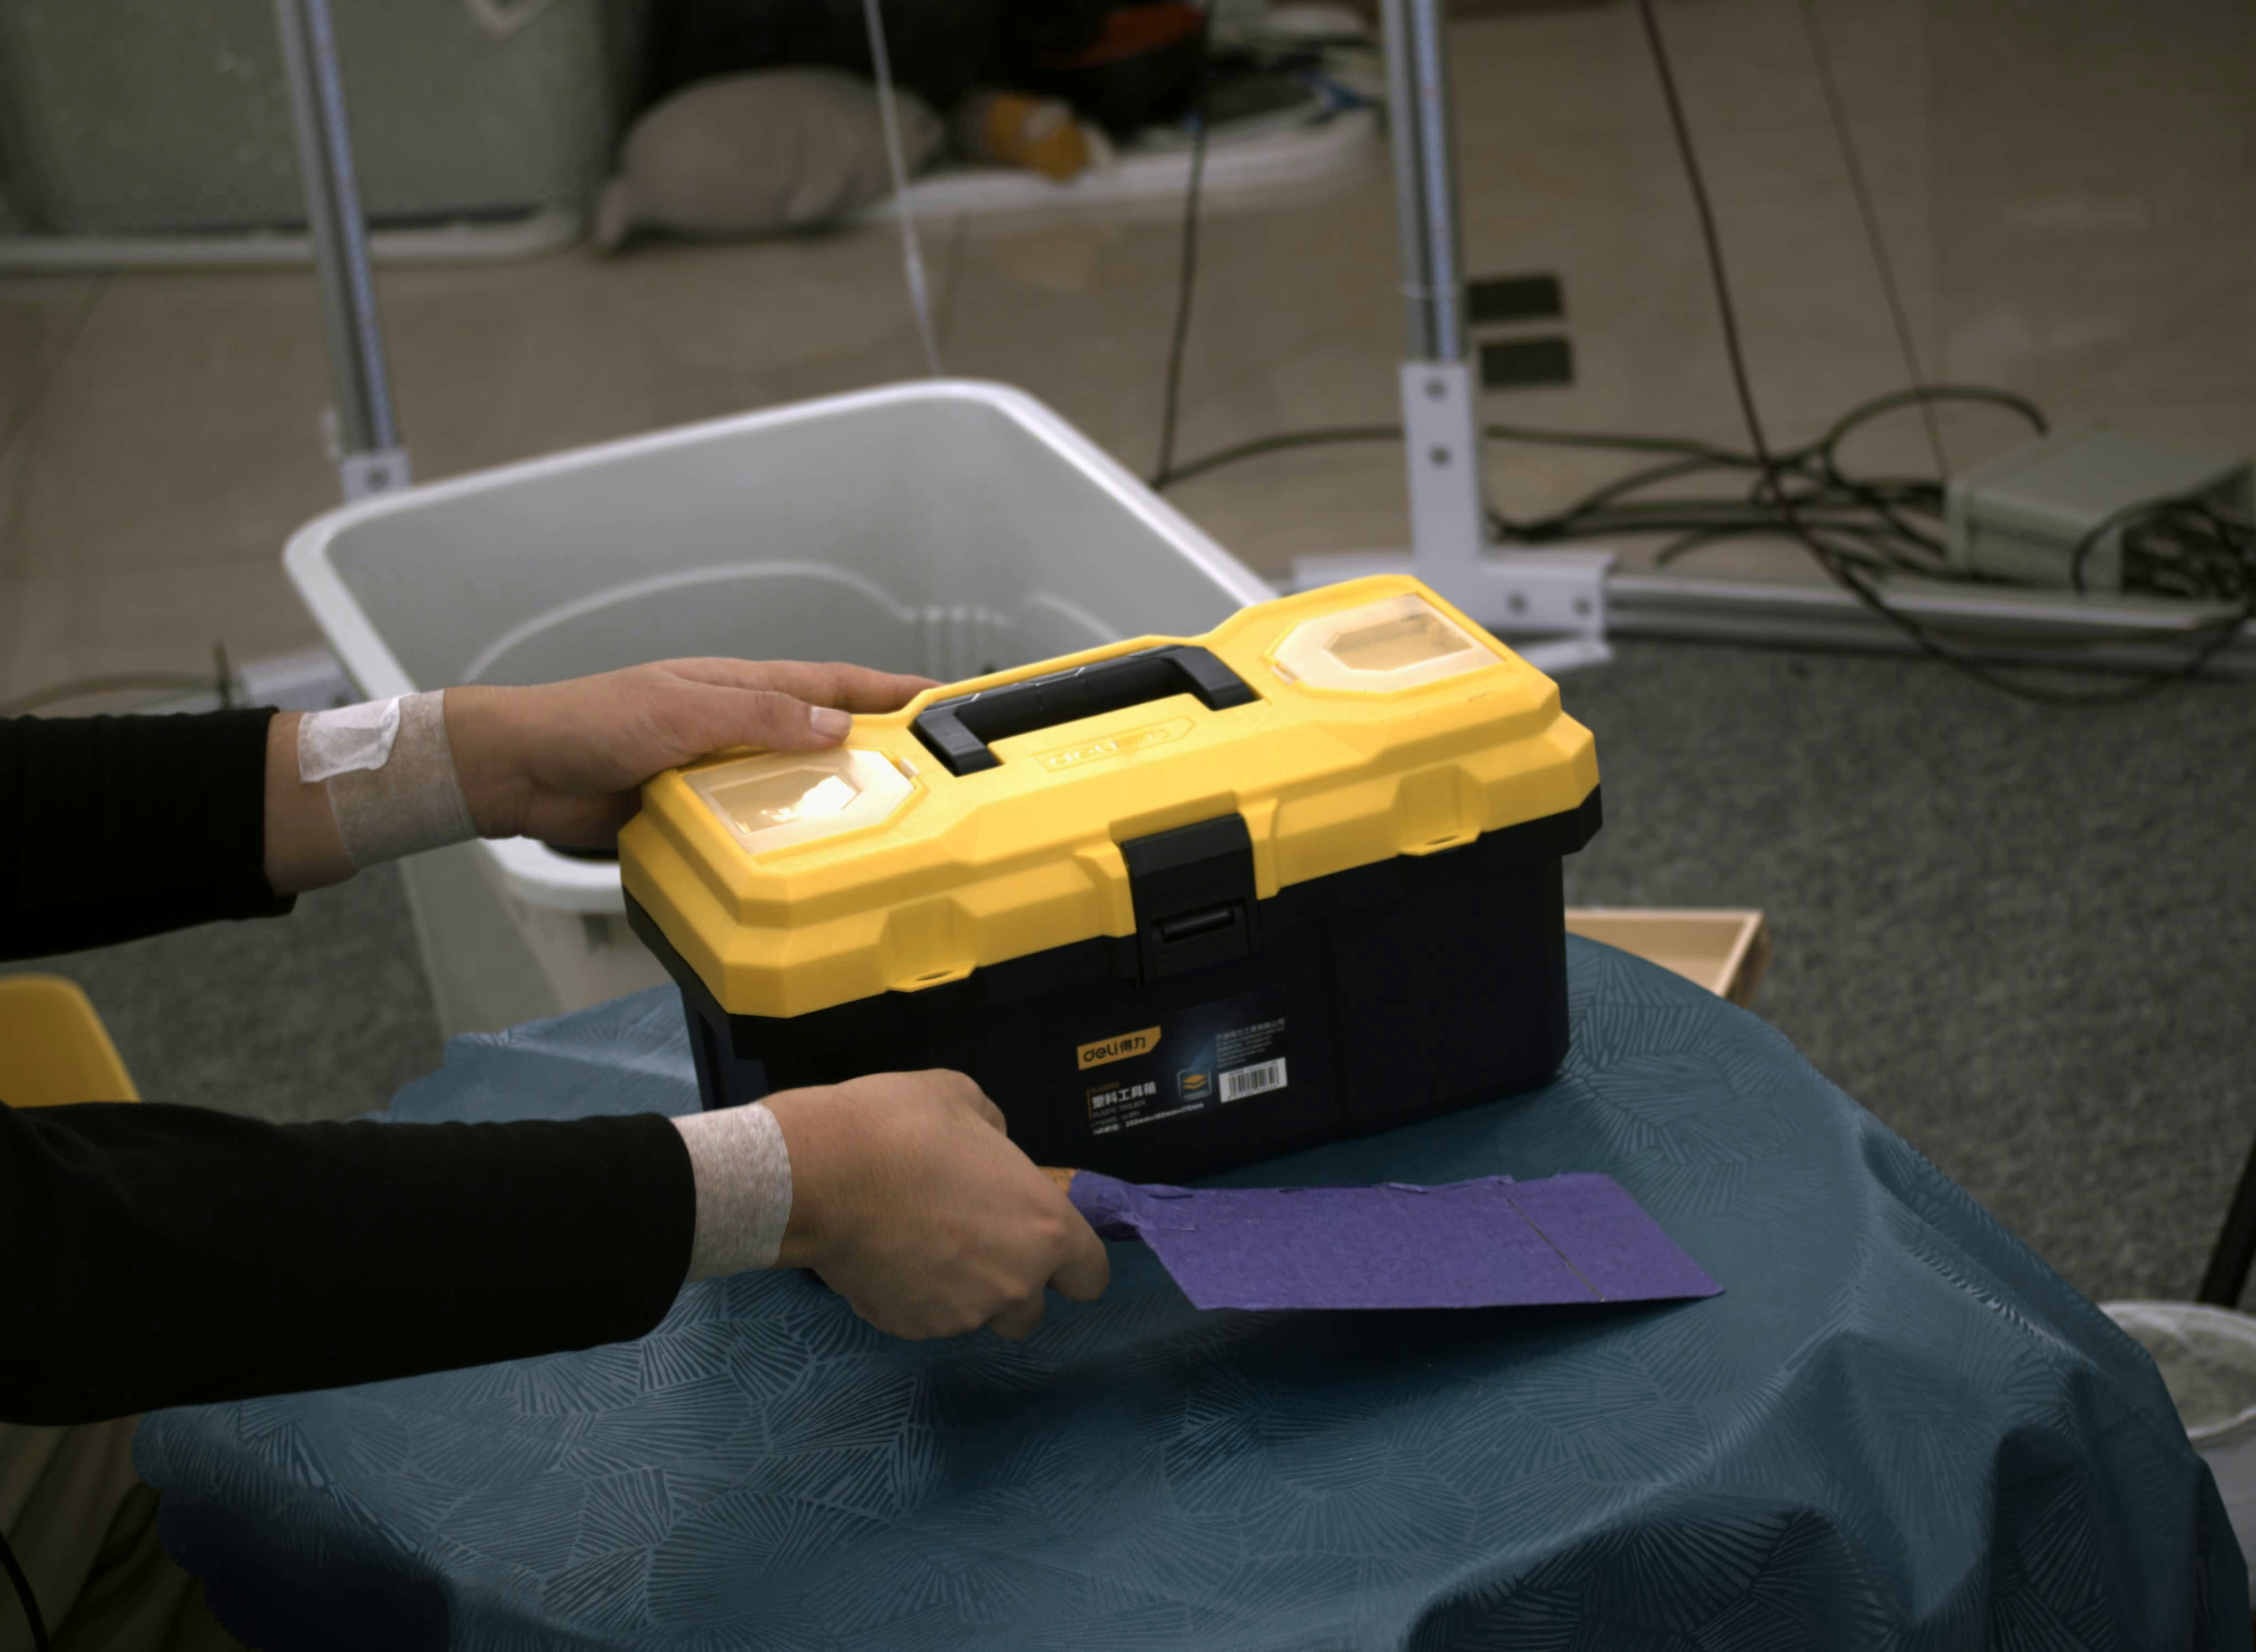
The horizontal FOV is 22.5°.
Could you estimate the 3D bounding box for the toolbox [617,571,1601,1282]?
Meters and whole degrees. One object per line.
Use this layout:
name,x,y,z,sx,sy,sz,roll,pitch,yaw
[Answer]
toolbox,-0.002,0.037,2.160,0.350,0.175,0.179,-15,26,-16

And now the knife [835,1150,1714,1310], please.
knife,0.057,0.143,2.014,0.315,0.032,0.102,-2,23,-23
